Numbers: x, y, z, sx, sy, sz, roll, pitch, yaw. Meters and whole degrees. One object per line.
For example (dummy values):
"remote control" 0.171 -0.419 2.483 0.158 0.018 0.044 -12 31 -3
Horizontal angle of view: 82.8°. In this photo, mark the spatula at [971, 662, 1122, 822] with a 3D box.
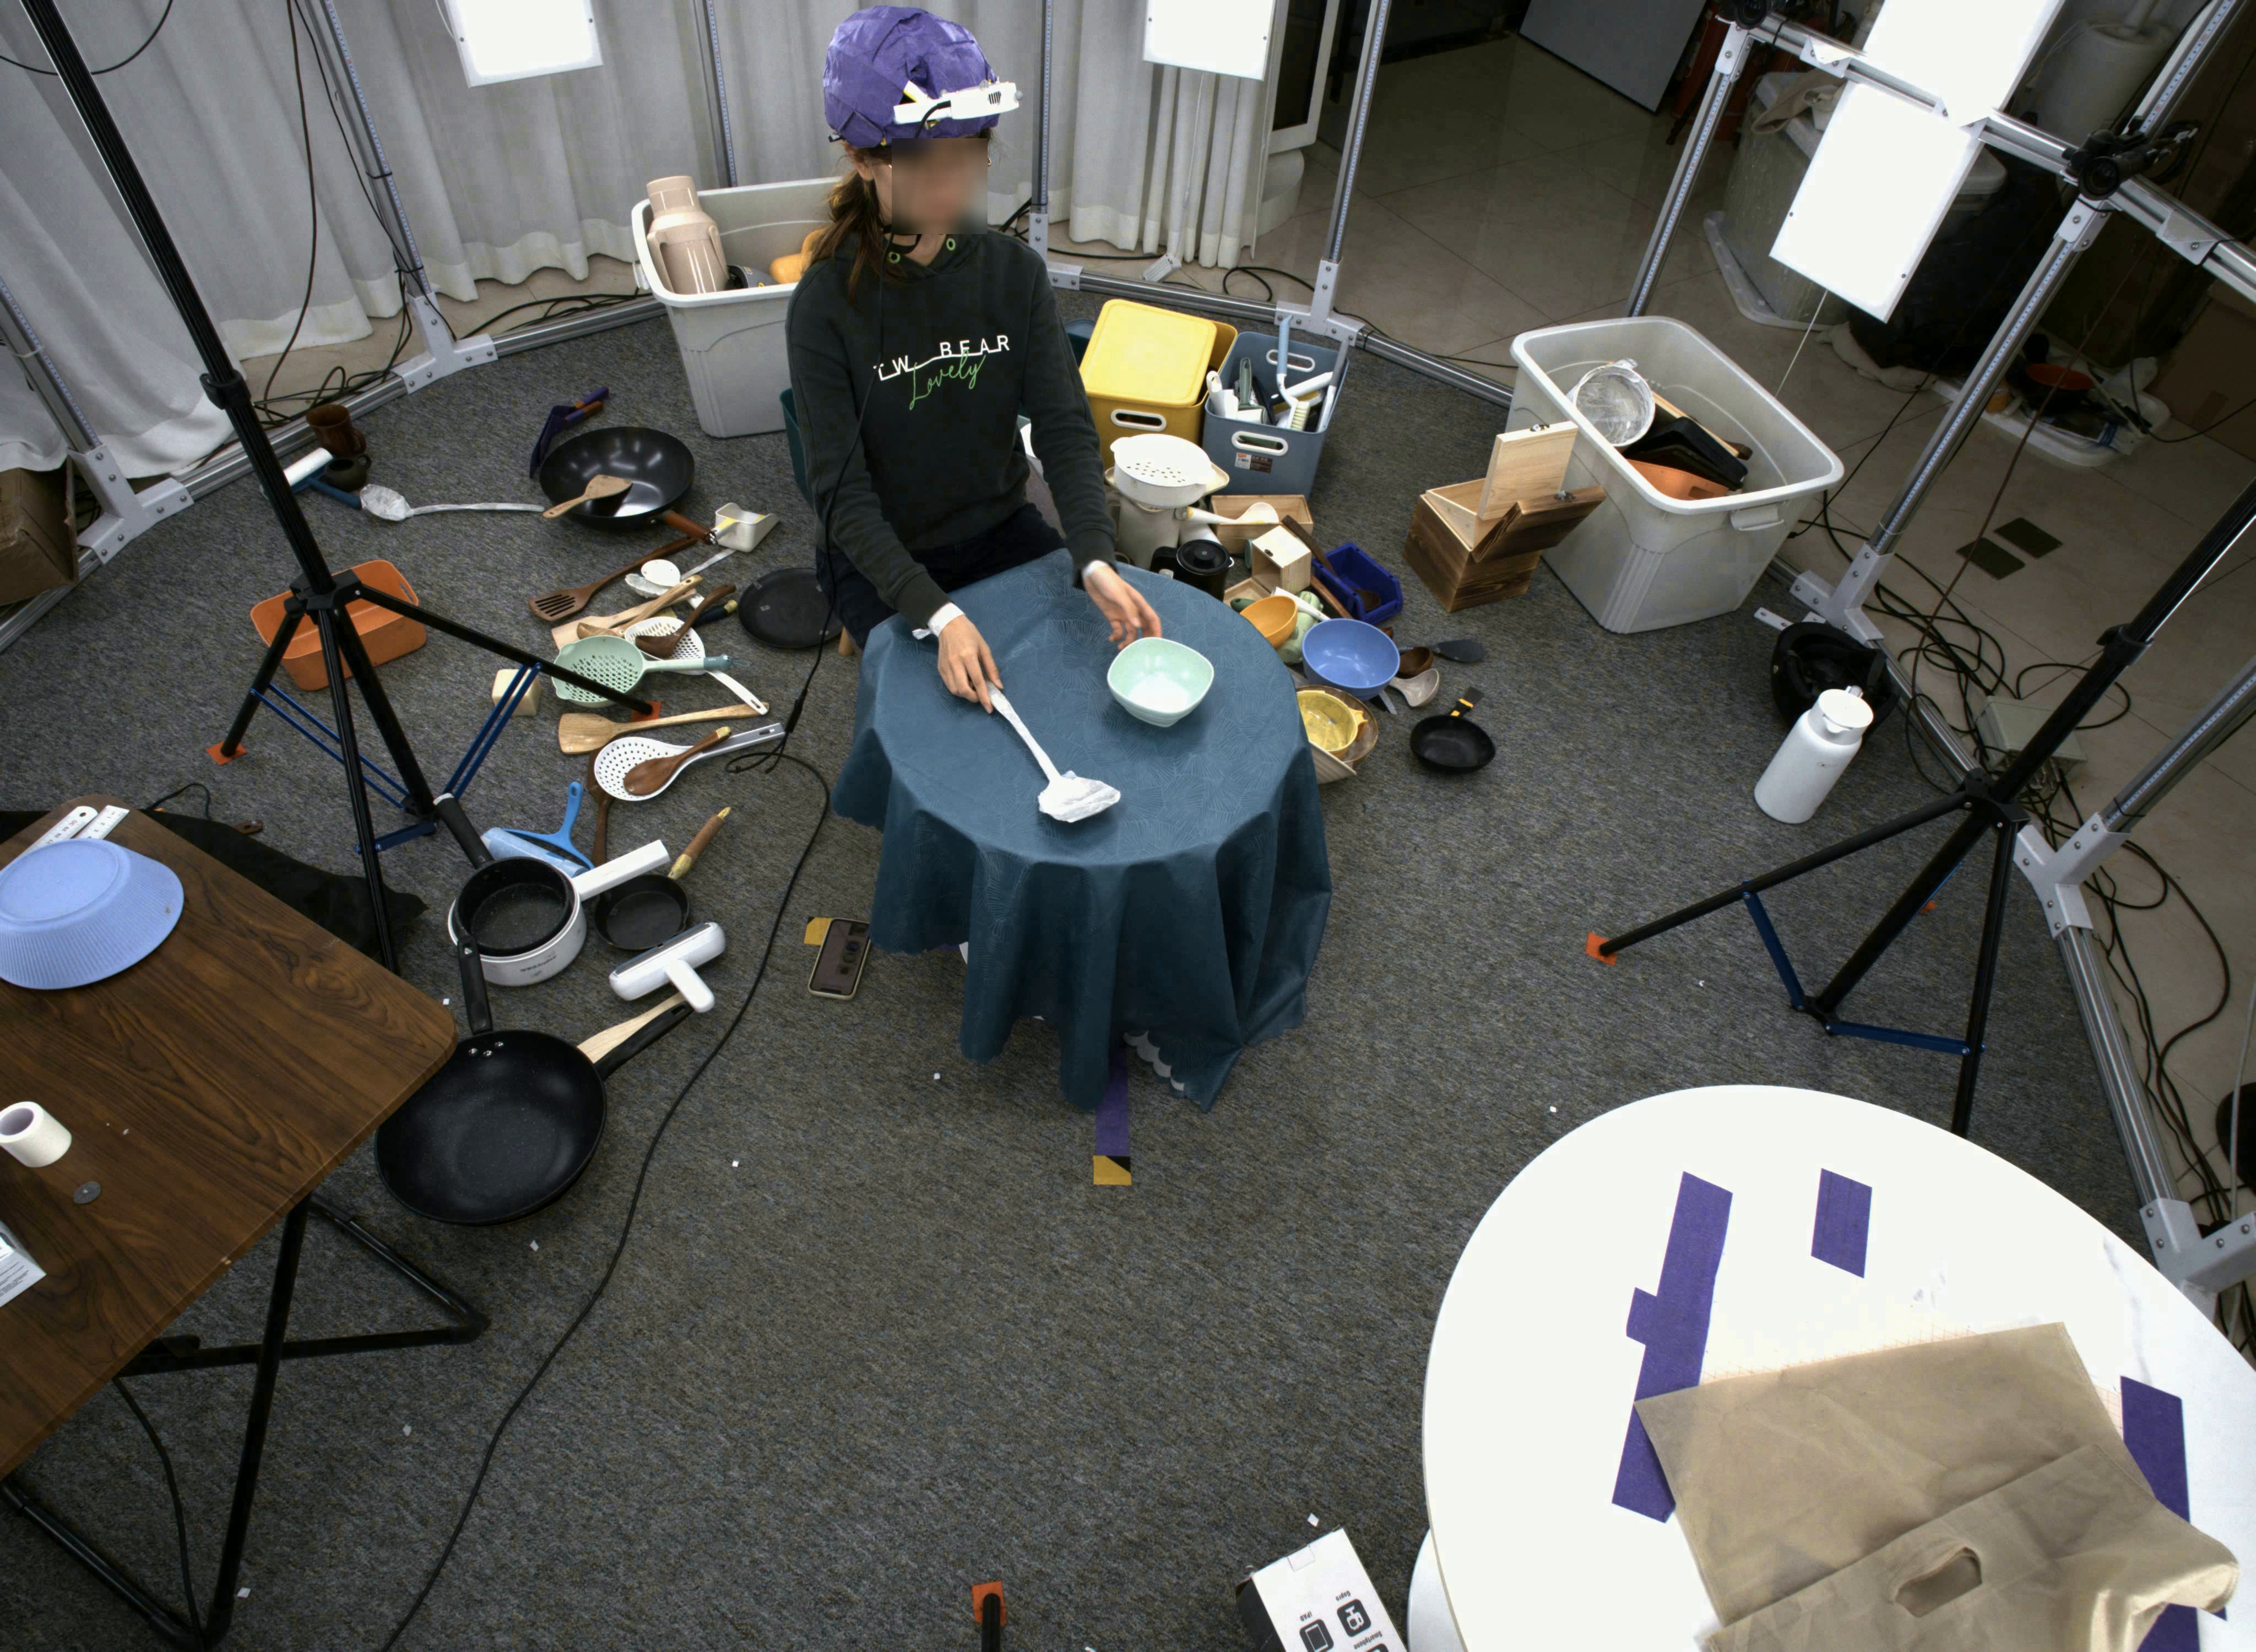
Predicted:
"spatula" -0.134 -0.127 1.760 0.099 0.044 0.372 -23 54 -21

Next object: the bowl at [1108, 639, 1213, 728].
"bowl" 0.044 -0.193 1.821 0.151 0.057 0.155 3 50 -3
